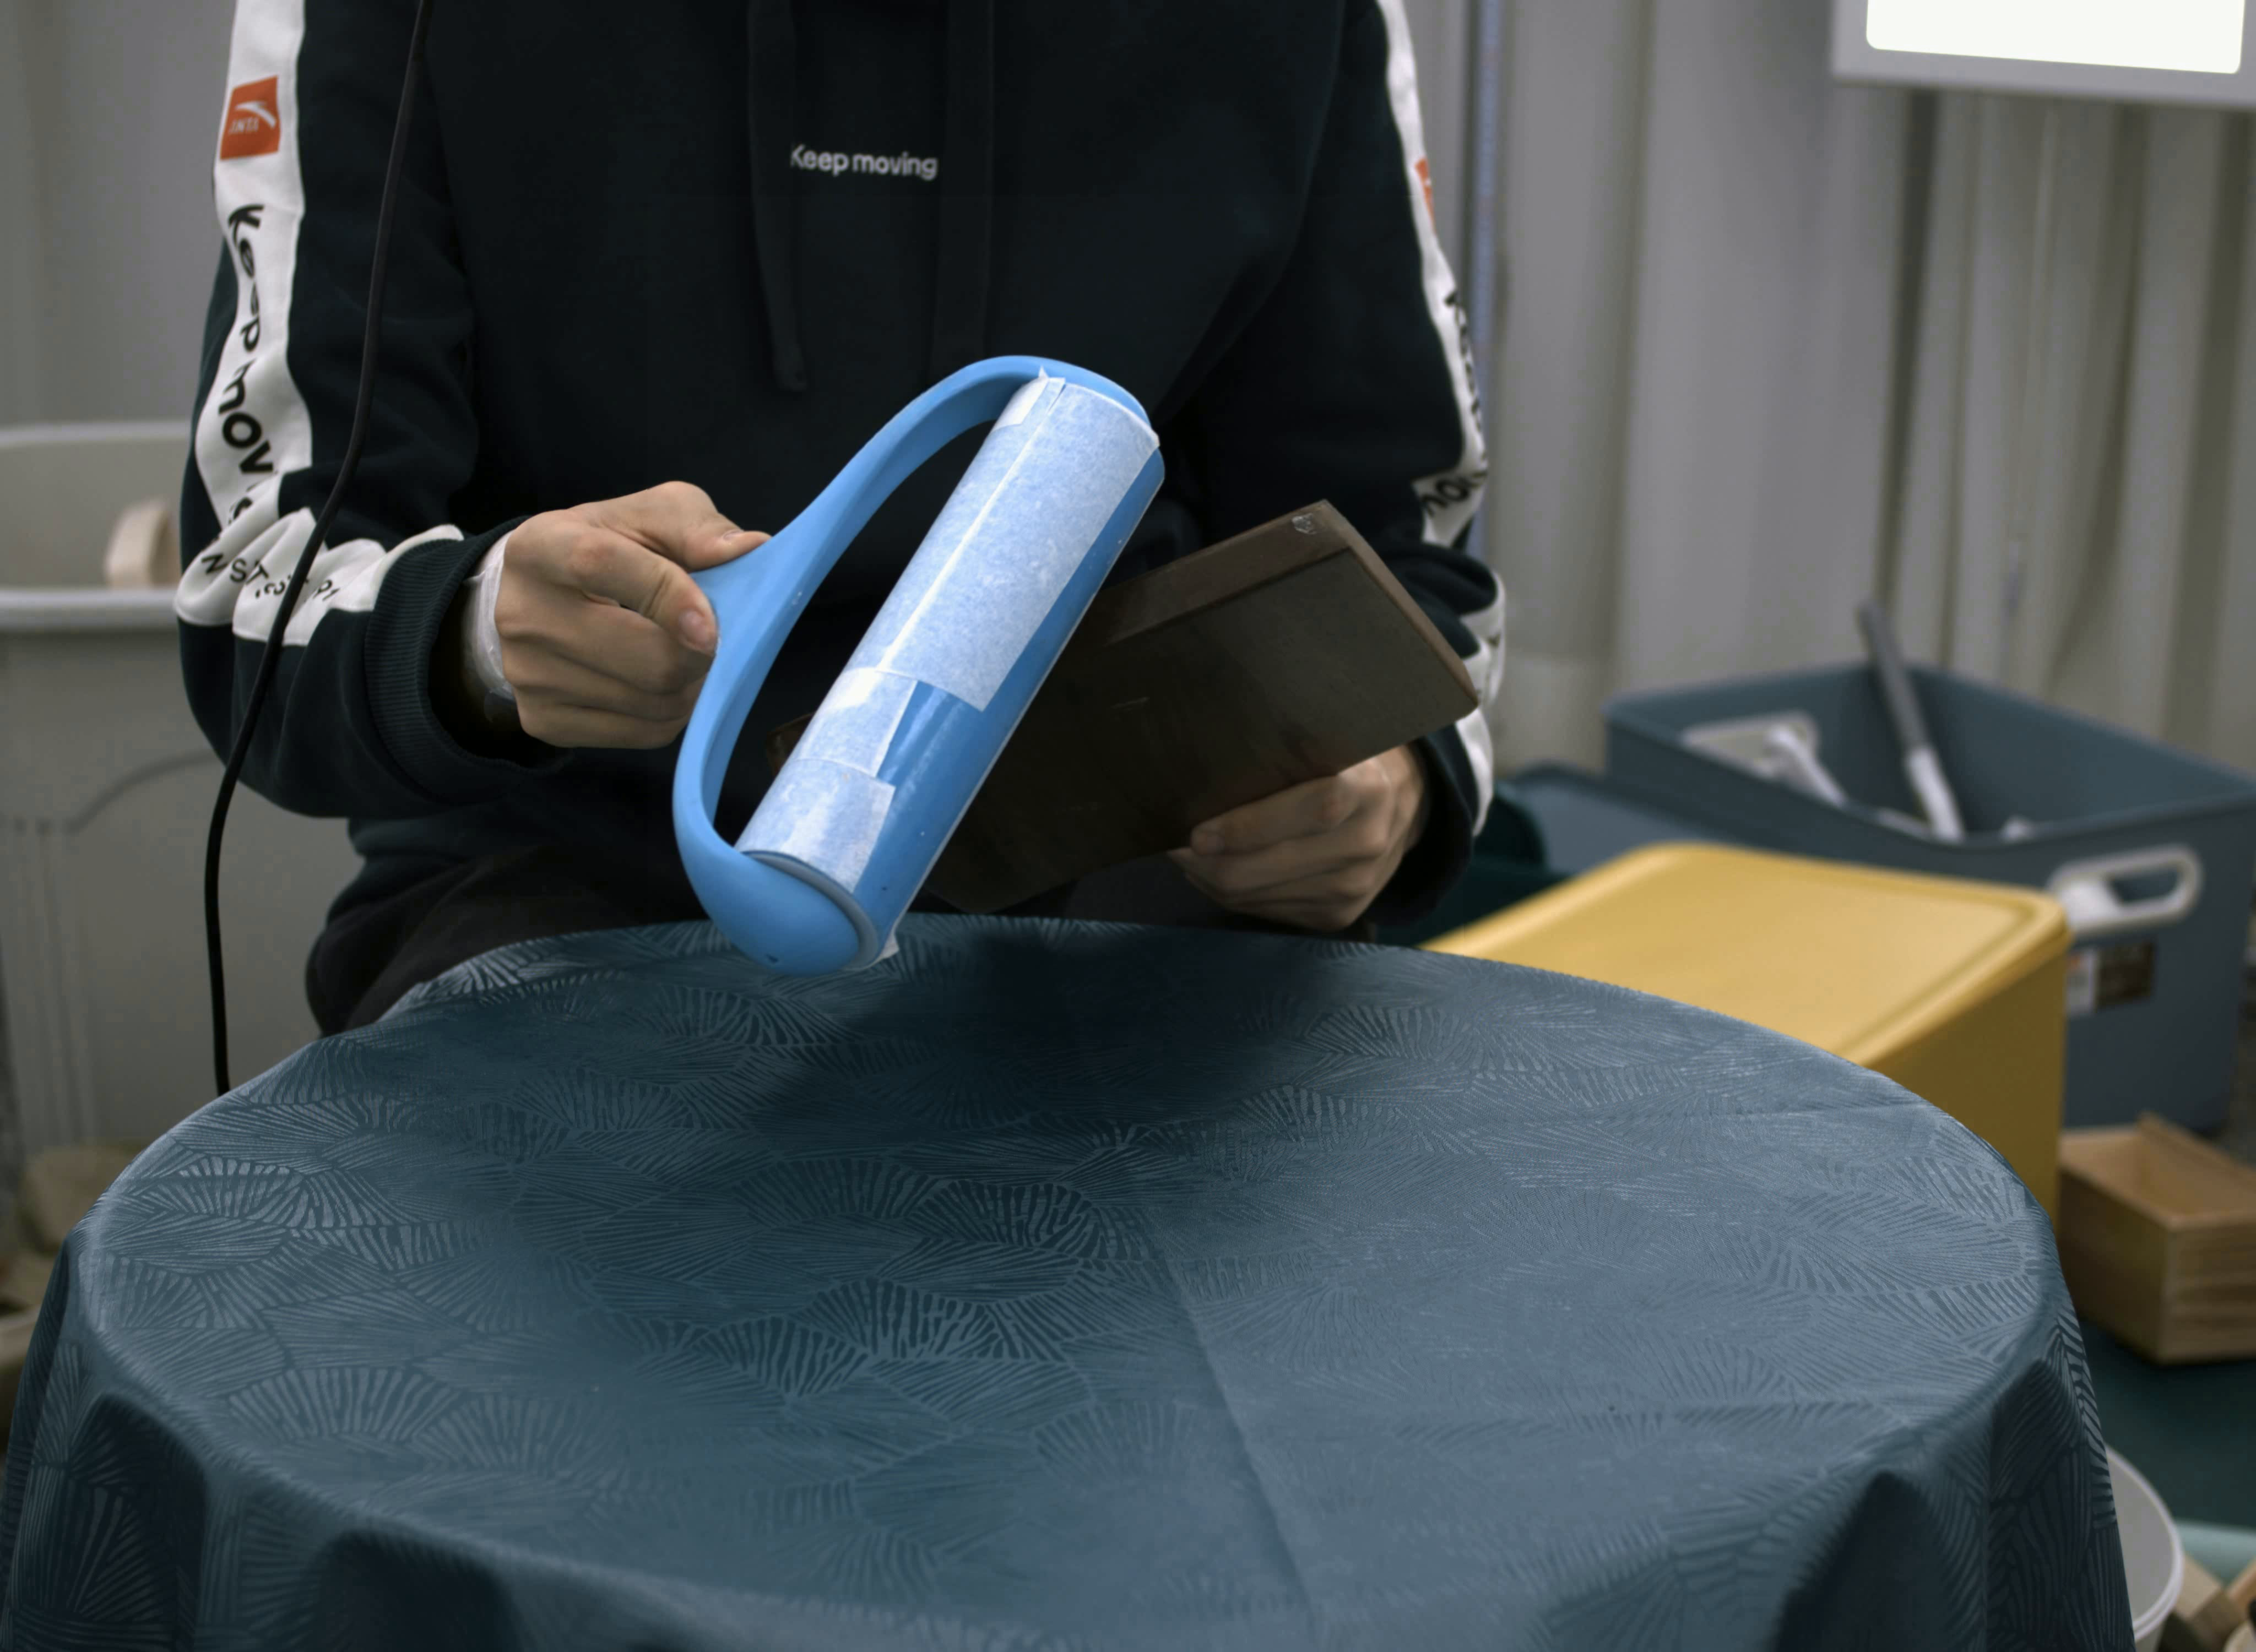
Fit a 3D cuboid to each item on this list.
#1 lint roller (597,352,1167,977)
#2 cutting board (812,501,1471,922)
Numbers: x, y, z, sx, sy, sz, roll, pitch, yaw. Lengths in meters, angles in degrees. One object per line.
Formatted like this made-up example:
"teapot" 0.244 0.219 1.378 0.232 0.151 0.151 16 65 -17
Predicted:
"lint roller" -0.102 -0.053 1.603 0.178 0.069 0.228 5 54 33
"cutting board" 0.014 -0.024 1.779 0.200 0.023 0.355 -22 -15 7
